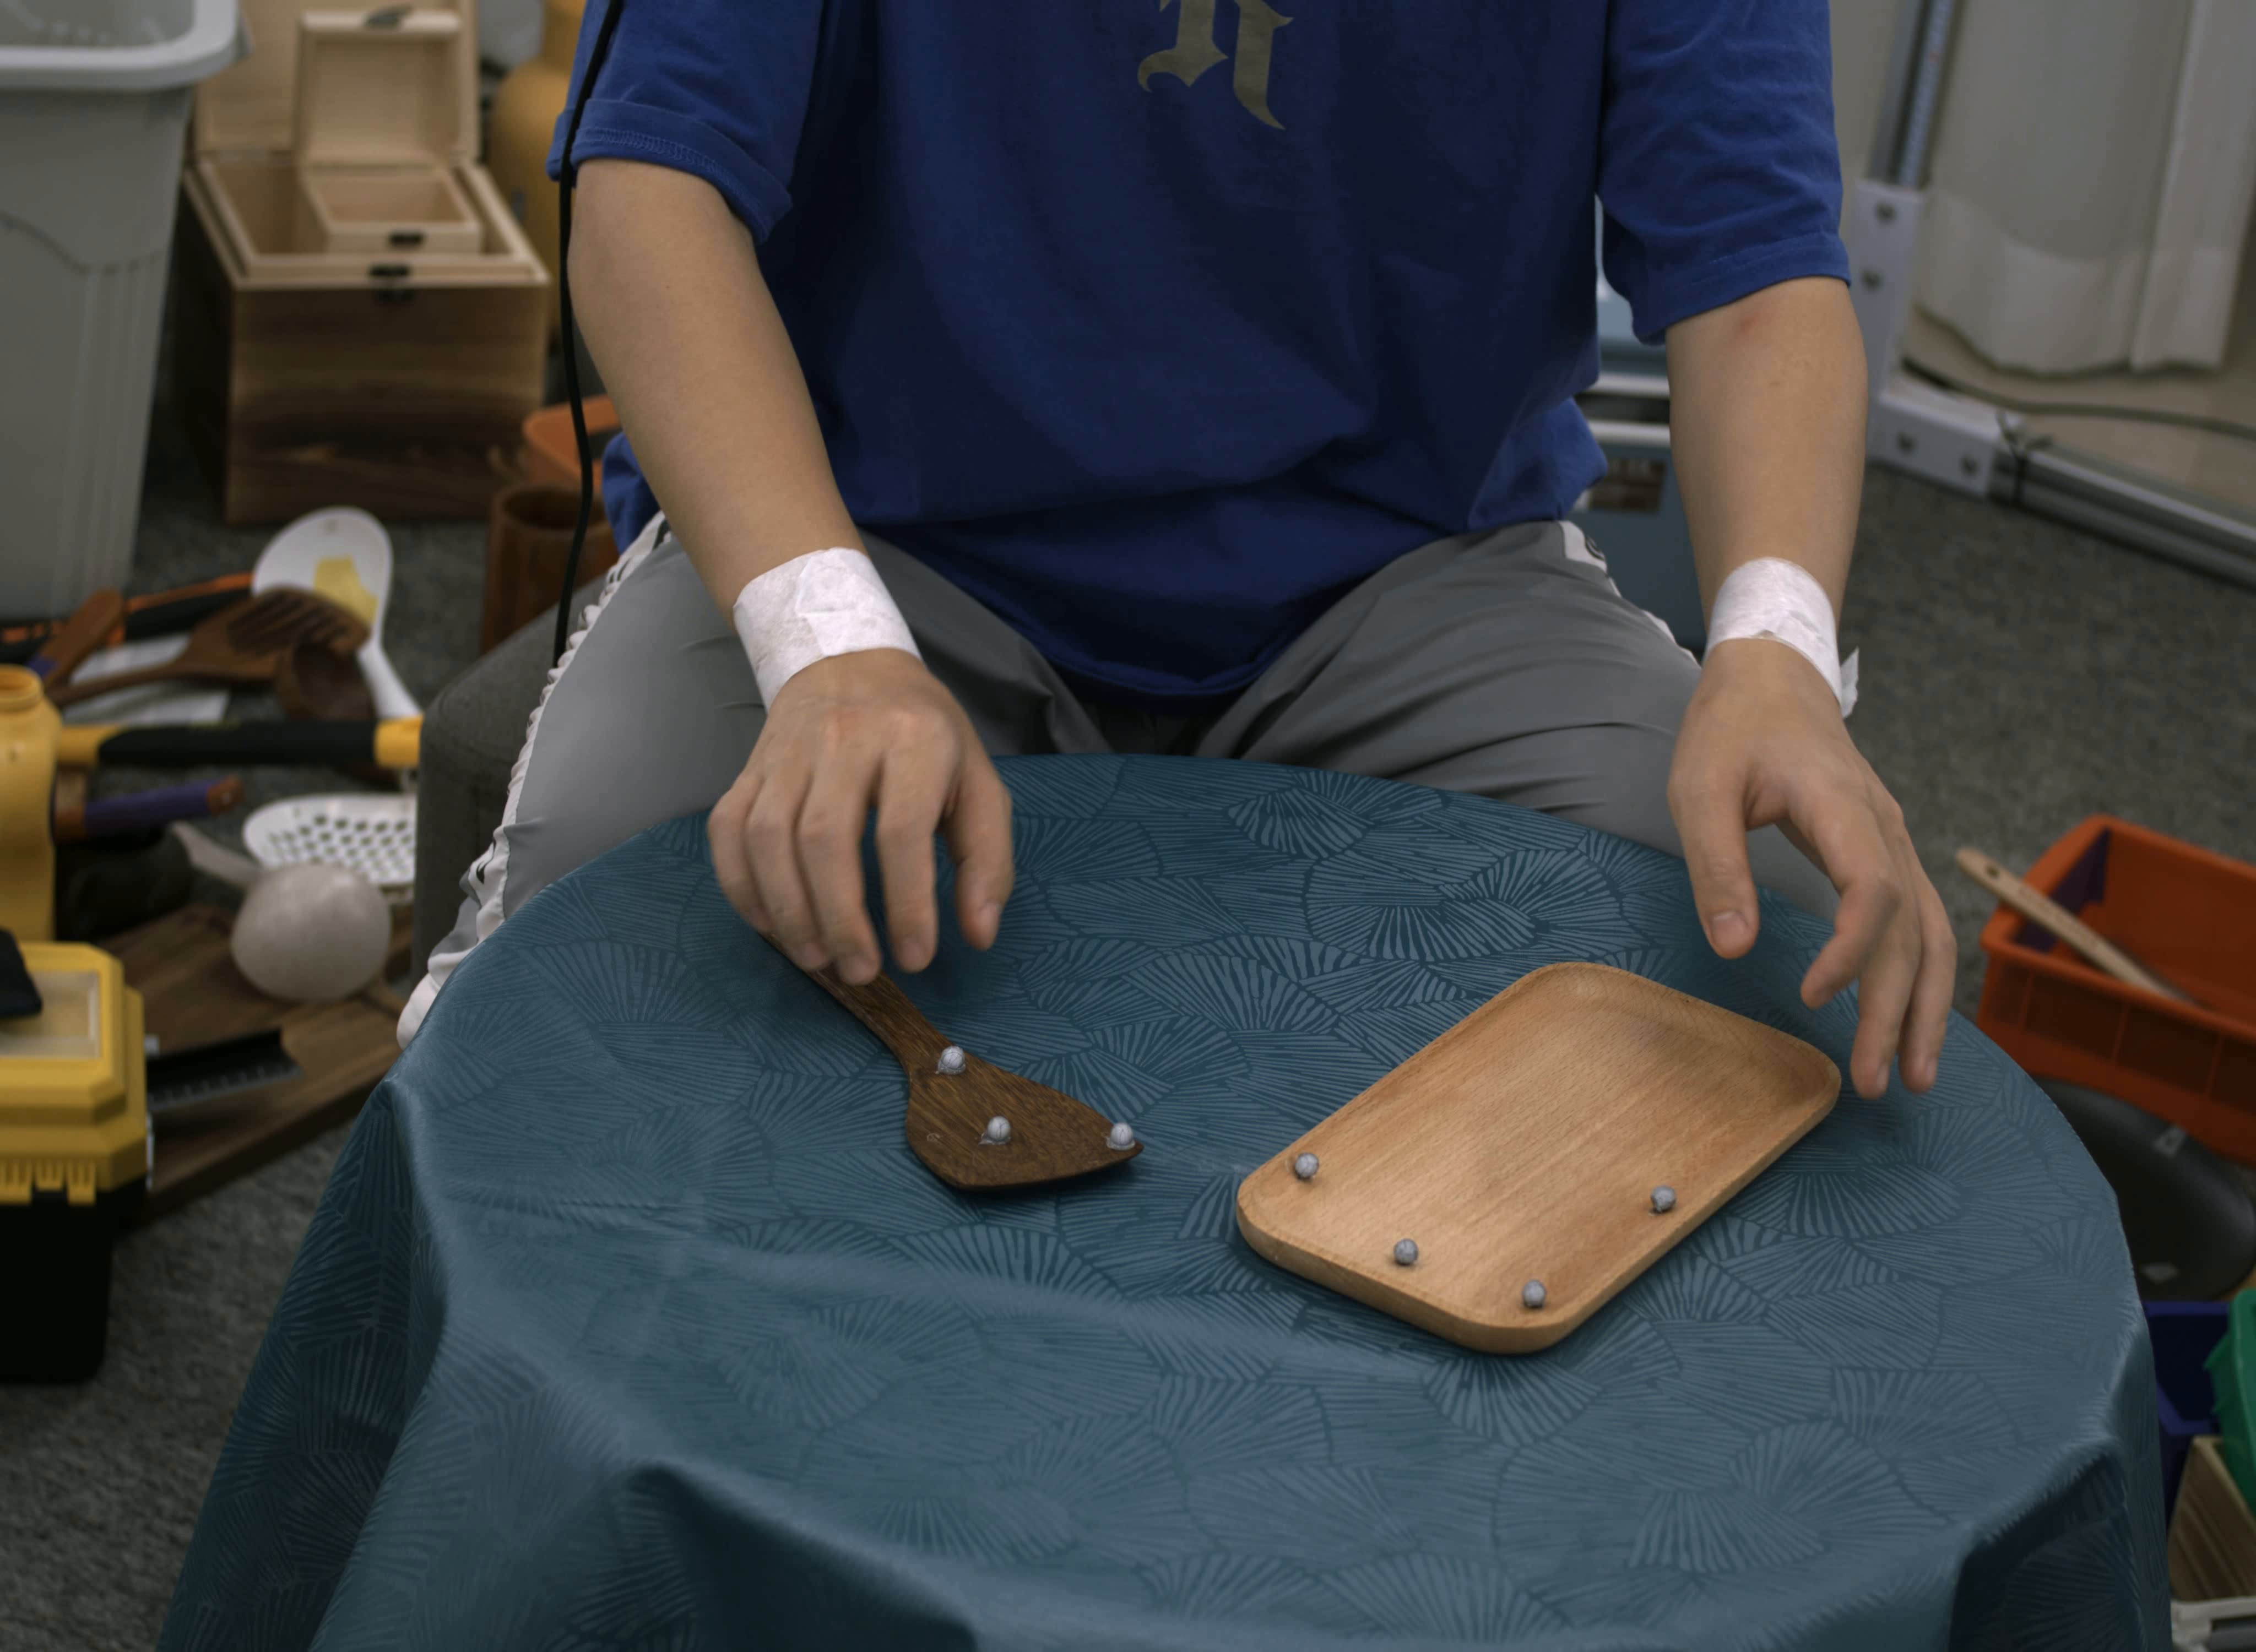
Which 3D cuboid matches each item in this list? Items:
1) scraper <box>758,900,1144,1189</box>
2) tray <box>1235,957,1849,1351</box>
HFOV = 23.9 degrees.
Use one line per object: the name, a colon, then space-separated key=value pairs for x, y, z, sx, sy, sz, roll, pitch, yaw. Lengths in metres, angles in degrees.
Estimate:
scraper: x=-0.074 y=0.075 z=1.872 sx=0.075 sy=0.011 sz=0.213 roll=-9 pitch=30 yaw=-29
tray: x=0.146 y=0.111 z=1.842 sx=0.131 sy=0.023 sz=0.250 roll=24 pitch=31 yaw=27
